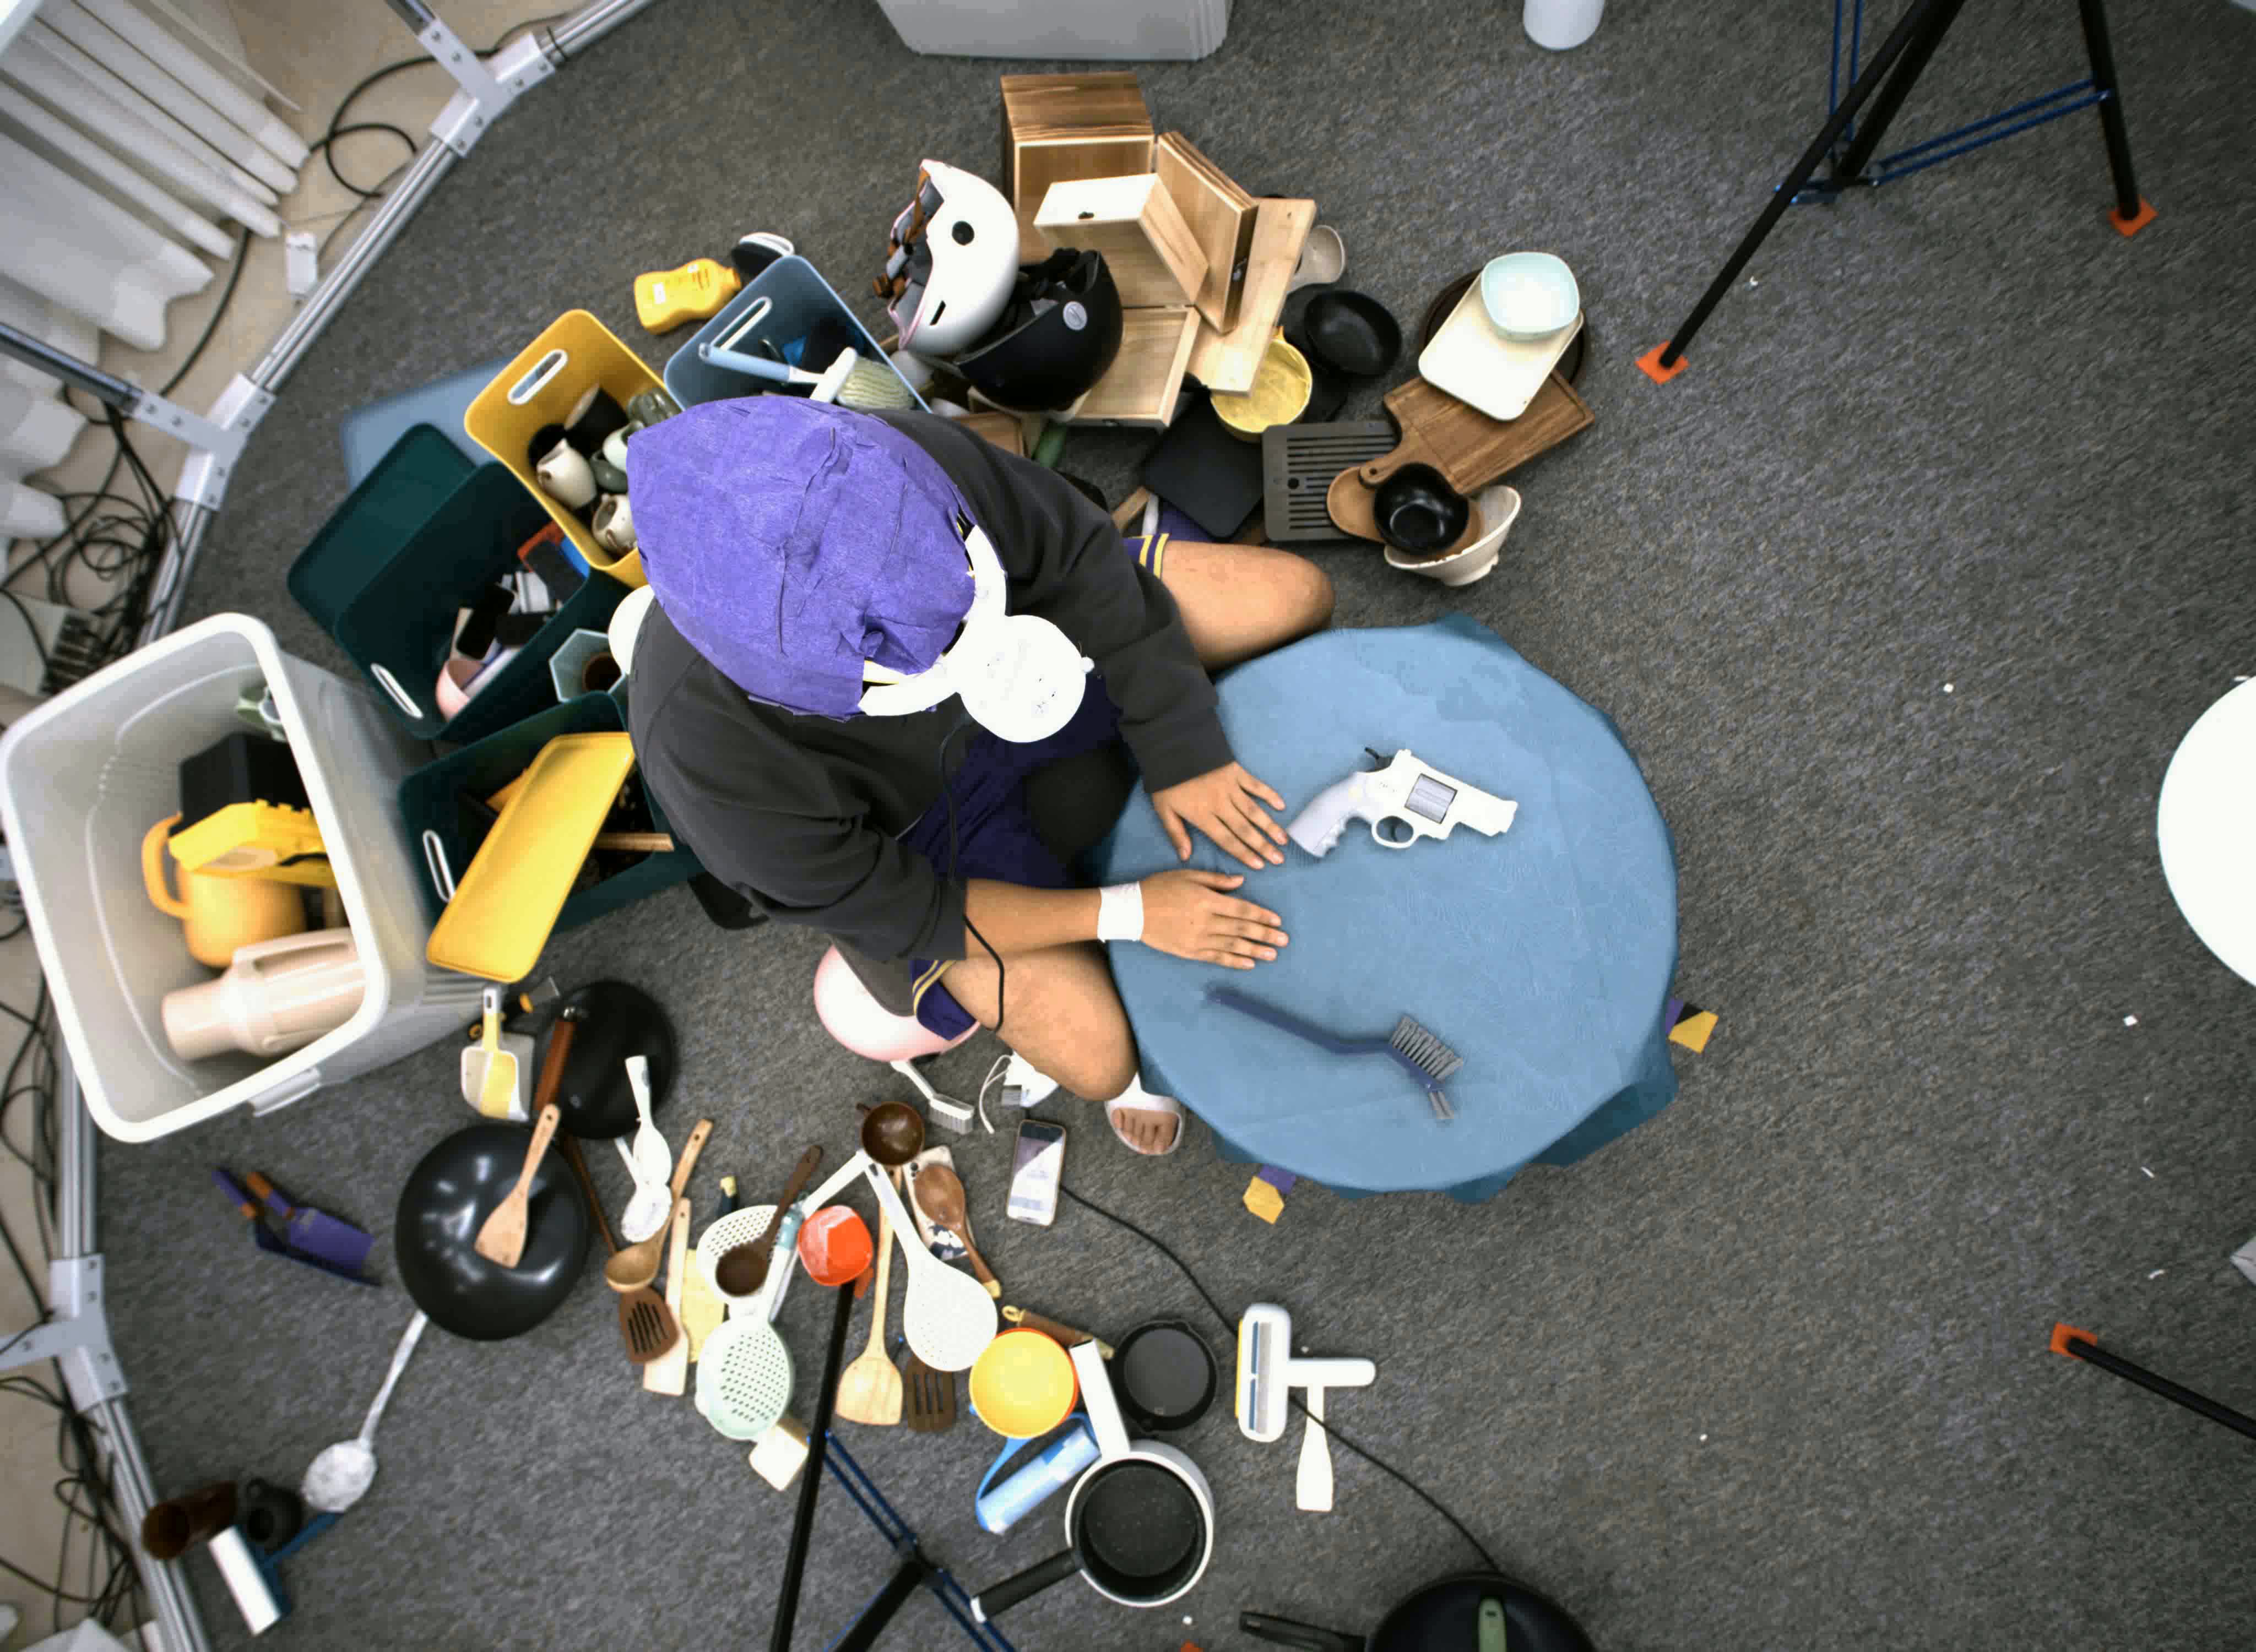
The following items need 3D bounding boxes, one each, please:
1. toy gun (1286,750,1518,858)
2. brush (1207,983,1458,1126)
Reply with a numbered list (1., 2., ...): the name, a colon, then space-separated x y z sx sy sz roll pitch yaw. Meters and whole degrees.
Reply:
1. toy gun: 0.285 -0.006 1.442 0.209 0.039 0.142 25 93 11
2. brush: 0.207 0.230 1.446 0.273 0.033 0.095 15 89 10
